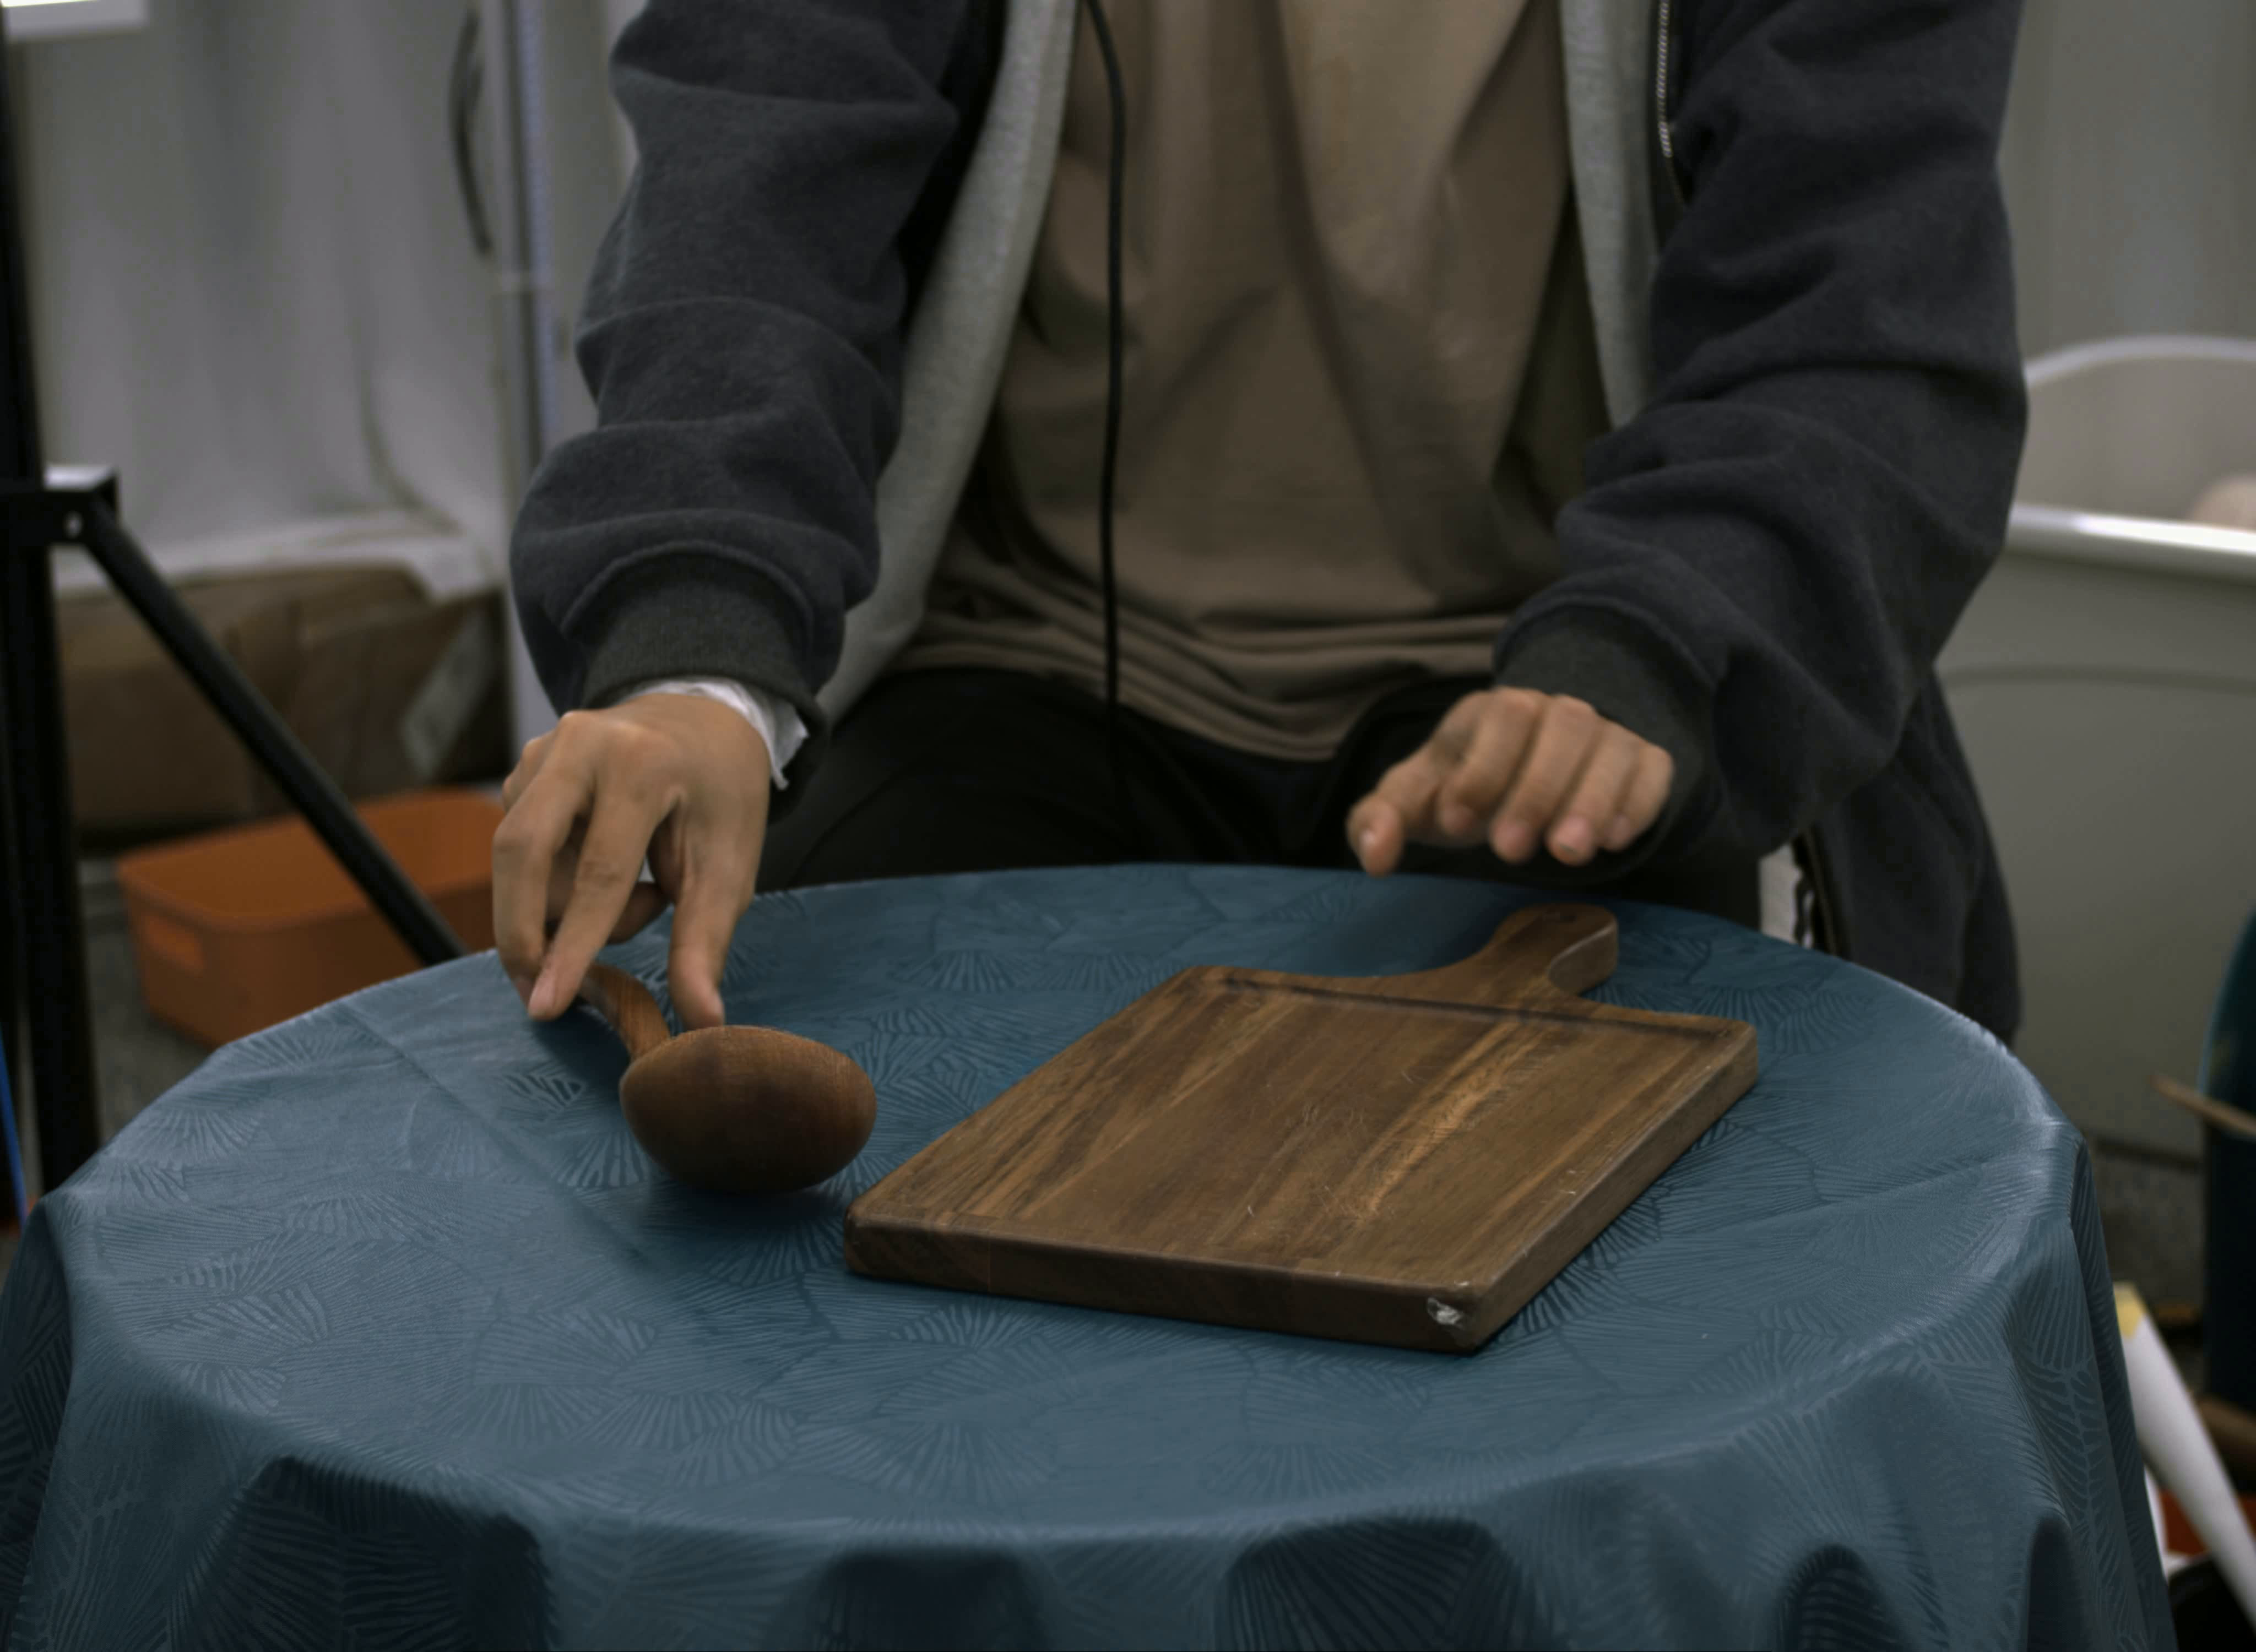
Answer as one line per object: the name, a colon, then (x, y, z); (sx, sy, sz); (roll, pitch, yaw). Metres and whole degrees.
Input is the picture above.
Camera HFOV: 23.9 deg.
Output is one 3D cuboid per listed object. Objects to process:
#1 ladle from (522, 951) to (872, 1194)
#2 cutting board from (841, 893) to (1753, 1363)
ladle: (-0.142, 0.059, 1.642); (0.075, 0.065, 0.264); (22, 6, -21)
cutting board: (0.076, 0.080, 1.605); (0.204, 0.023, 0.347); (6, 18, 24)
